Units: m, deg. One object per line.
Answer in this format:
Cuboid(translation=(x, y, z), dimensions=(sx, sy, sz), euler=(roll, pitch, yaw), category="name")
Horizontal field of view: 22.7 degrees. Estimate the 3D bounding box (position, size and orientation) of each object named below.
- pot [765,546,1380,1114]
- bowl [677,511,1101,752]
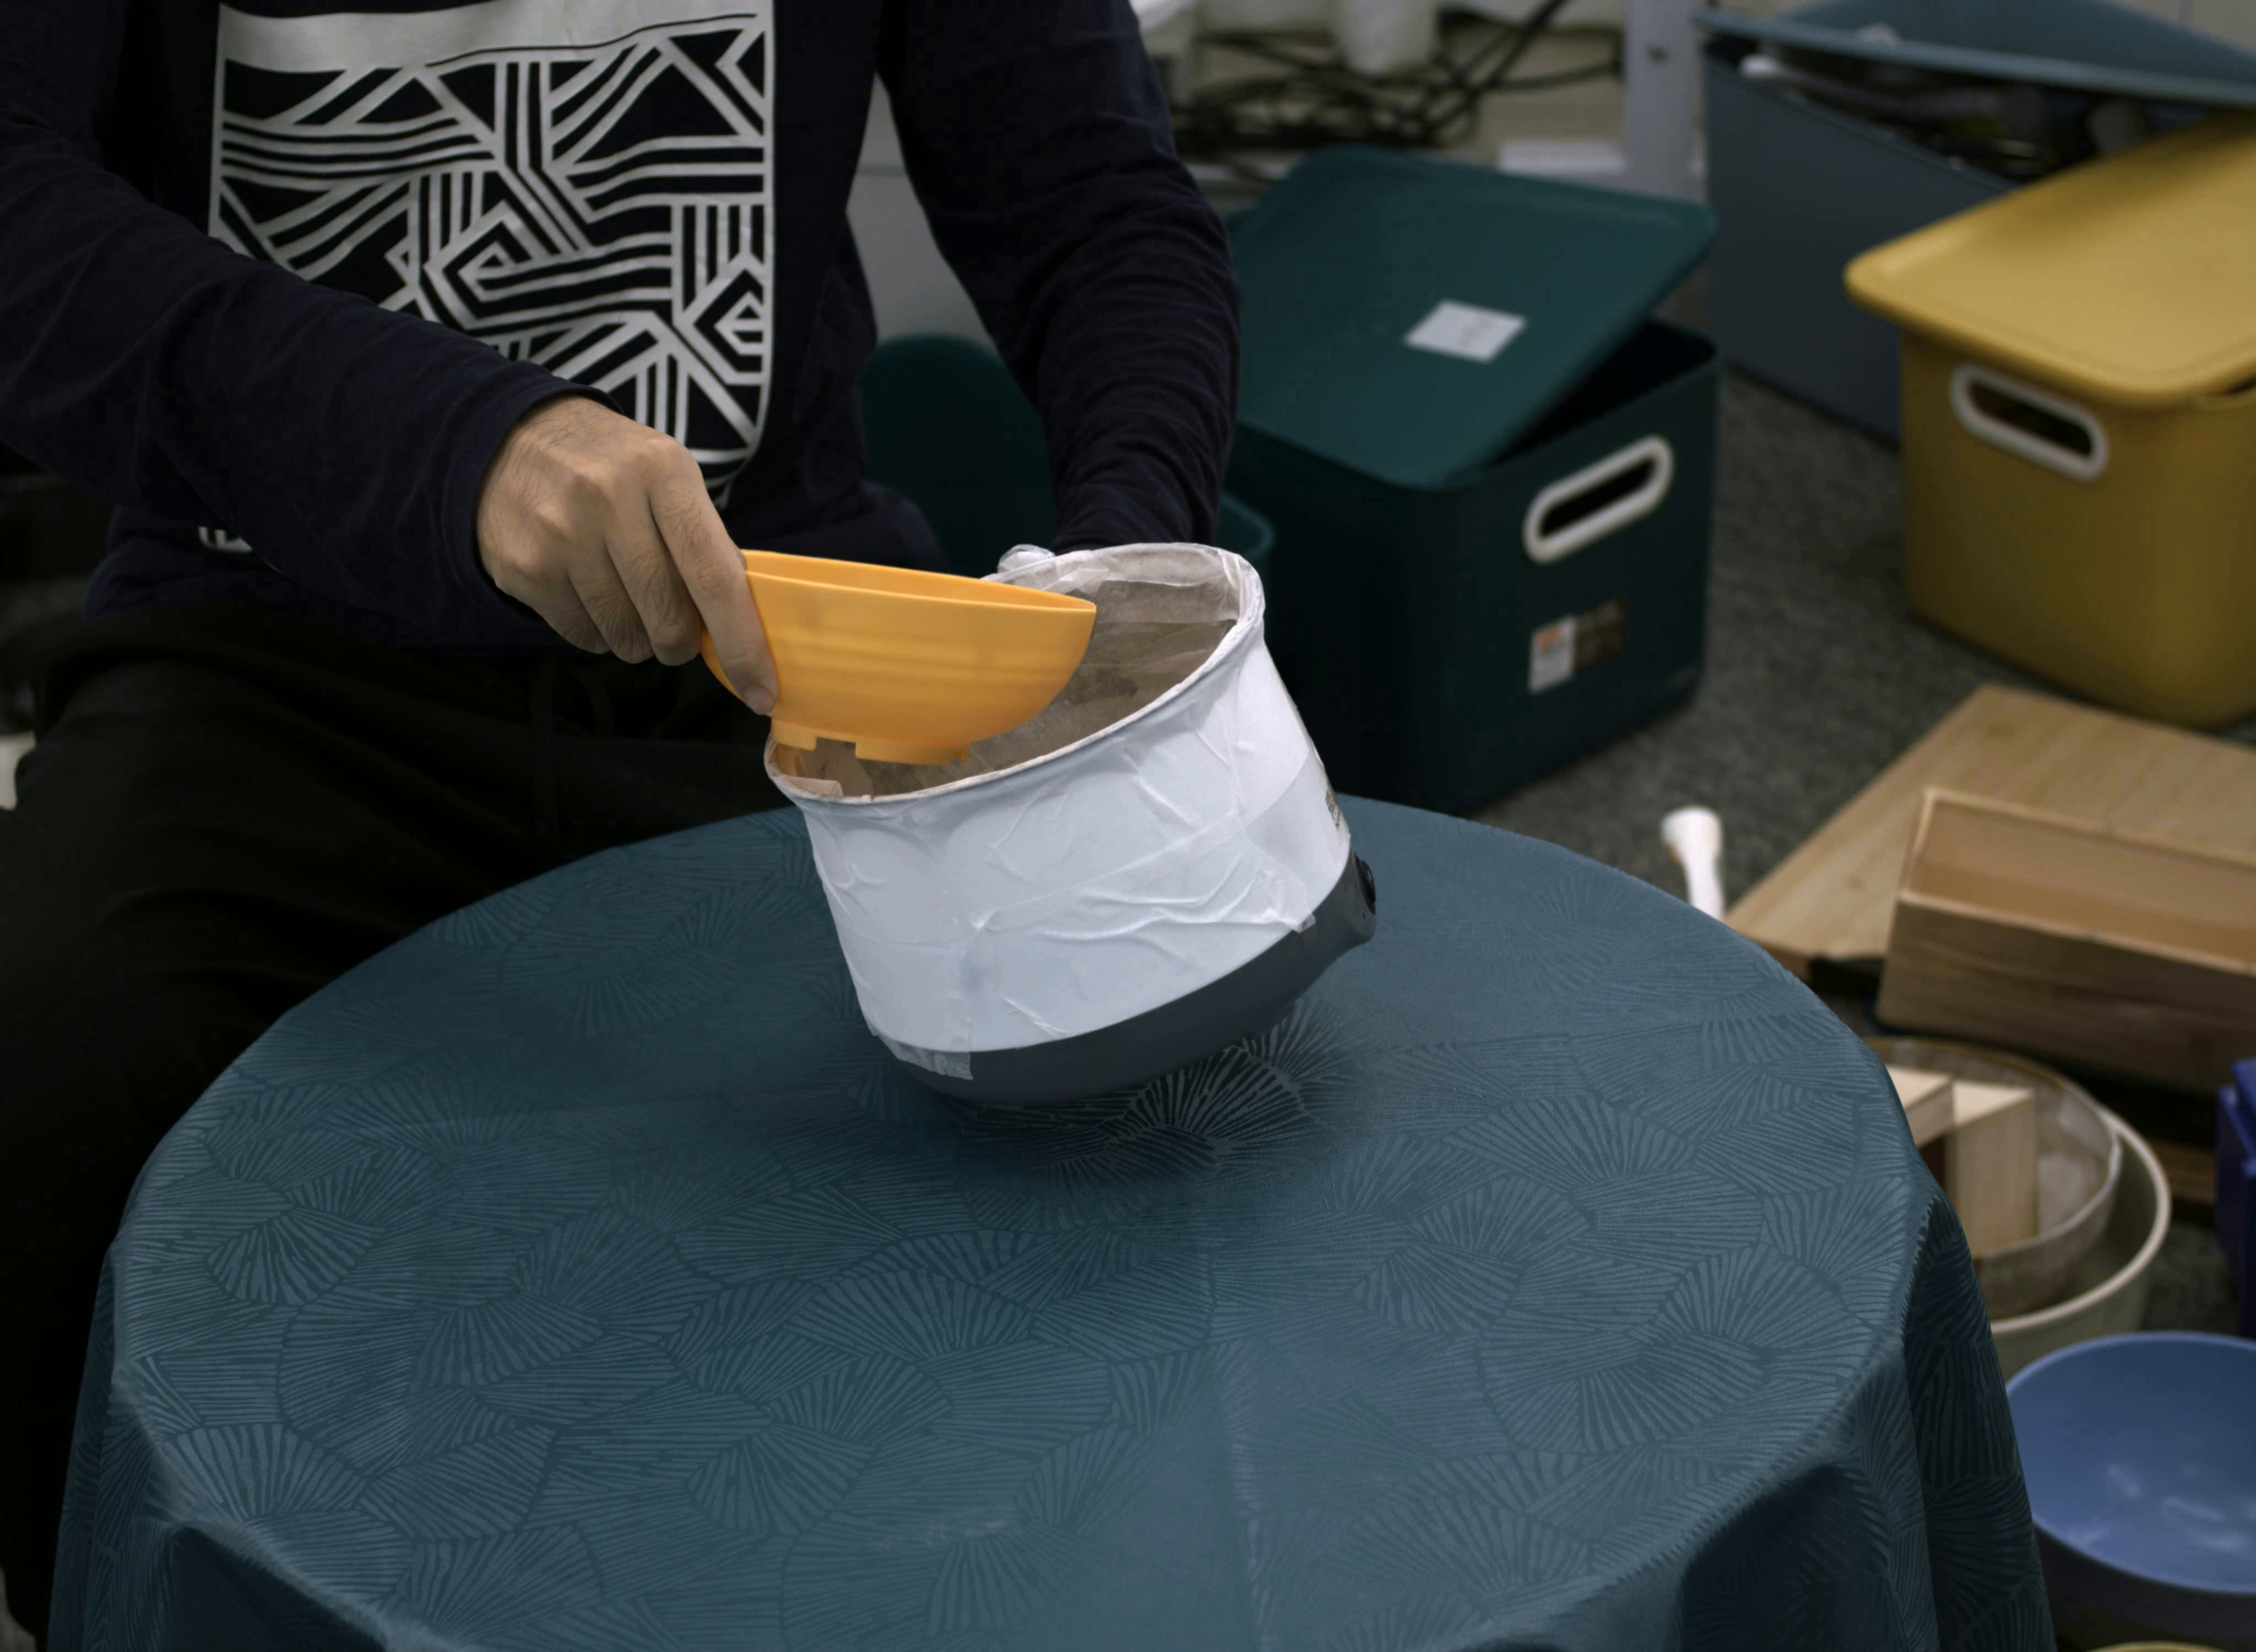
Cuboid(translation=(-0.017, -0.008, 1.922), dimensions=(0.177, 0.136, 0.236), euler=(-18, 20, 7), category="pot")
Cuboid(translation=(-0.084, -0.061, 1.874), dimensions=(0.145, 0.060, 0.146), euler=(11, 8, -1), category="bowl")
